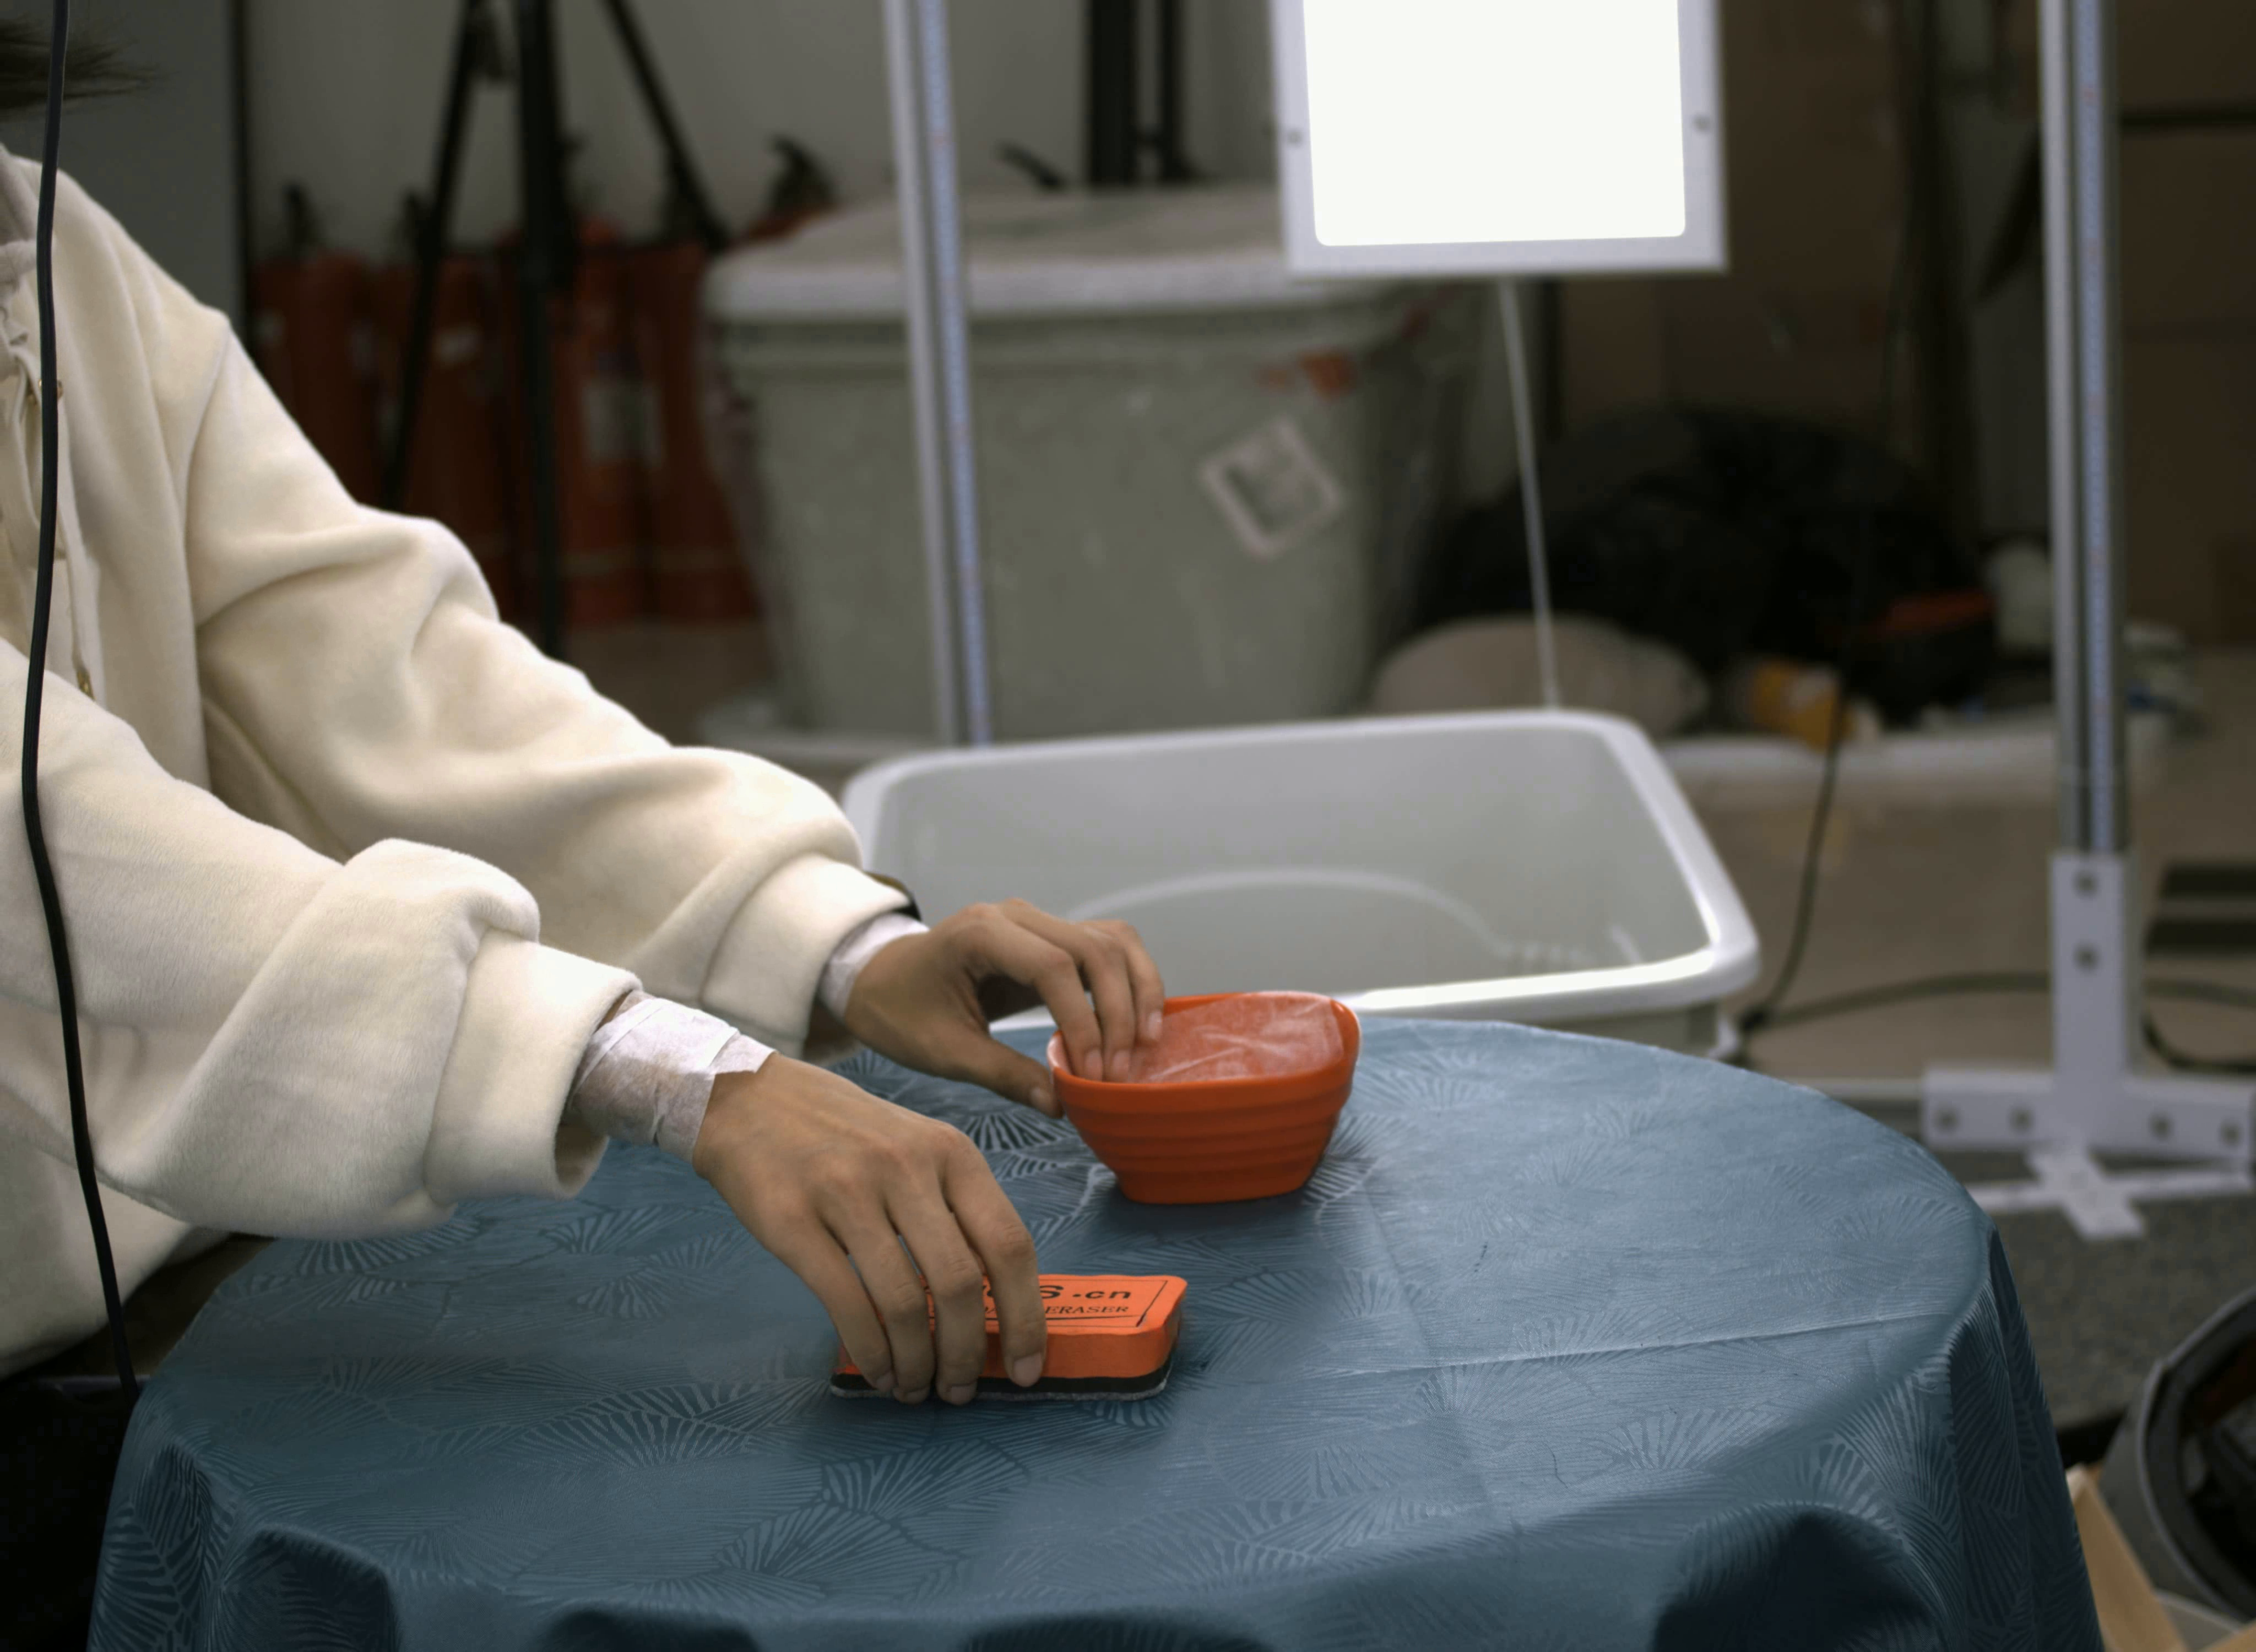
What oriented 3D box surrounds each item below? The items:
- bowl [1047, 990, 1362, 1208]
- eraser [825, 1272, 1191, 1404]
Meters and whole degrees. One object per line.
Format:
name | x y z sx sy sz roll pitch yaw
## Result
bowl | 0.029 0.097 1.903 0.118 0.051 0.119 -6 15 0
eraser | -0.037 0.160 1.727 0.109 0.023 0.058 -1 16 18
